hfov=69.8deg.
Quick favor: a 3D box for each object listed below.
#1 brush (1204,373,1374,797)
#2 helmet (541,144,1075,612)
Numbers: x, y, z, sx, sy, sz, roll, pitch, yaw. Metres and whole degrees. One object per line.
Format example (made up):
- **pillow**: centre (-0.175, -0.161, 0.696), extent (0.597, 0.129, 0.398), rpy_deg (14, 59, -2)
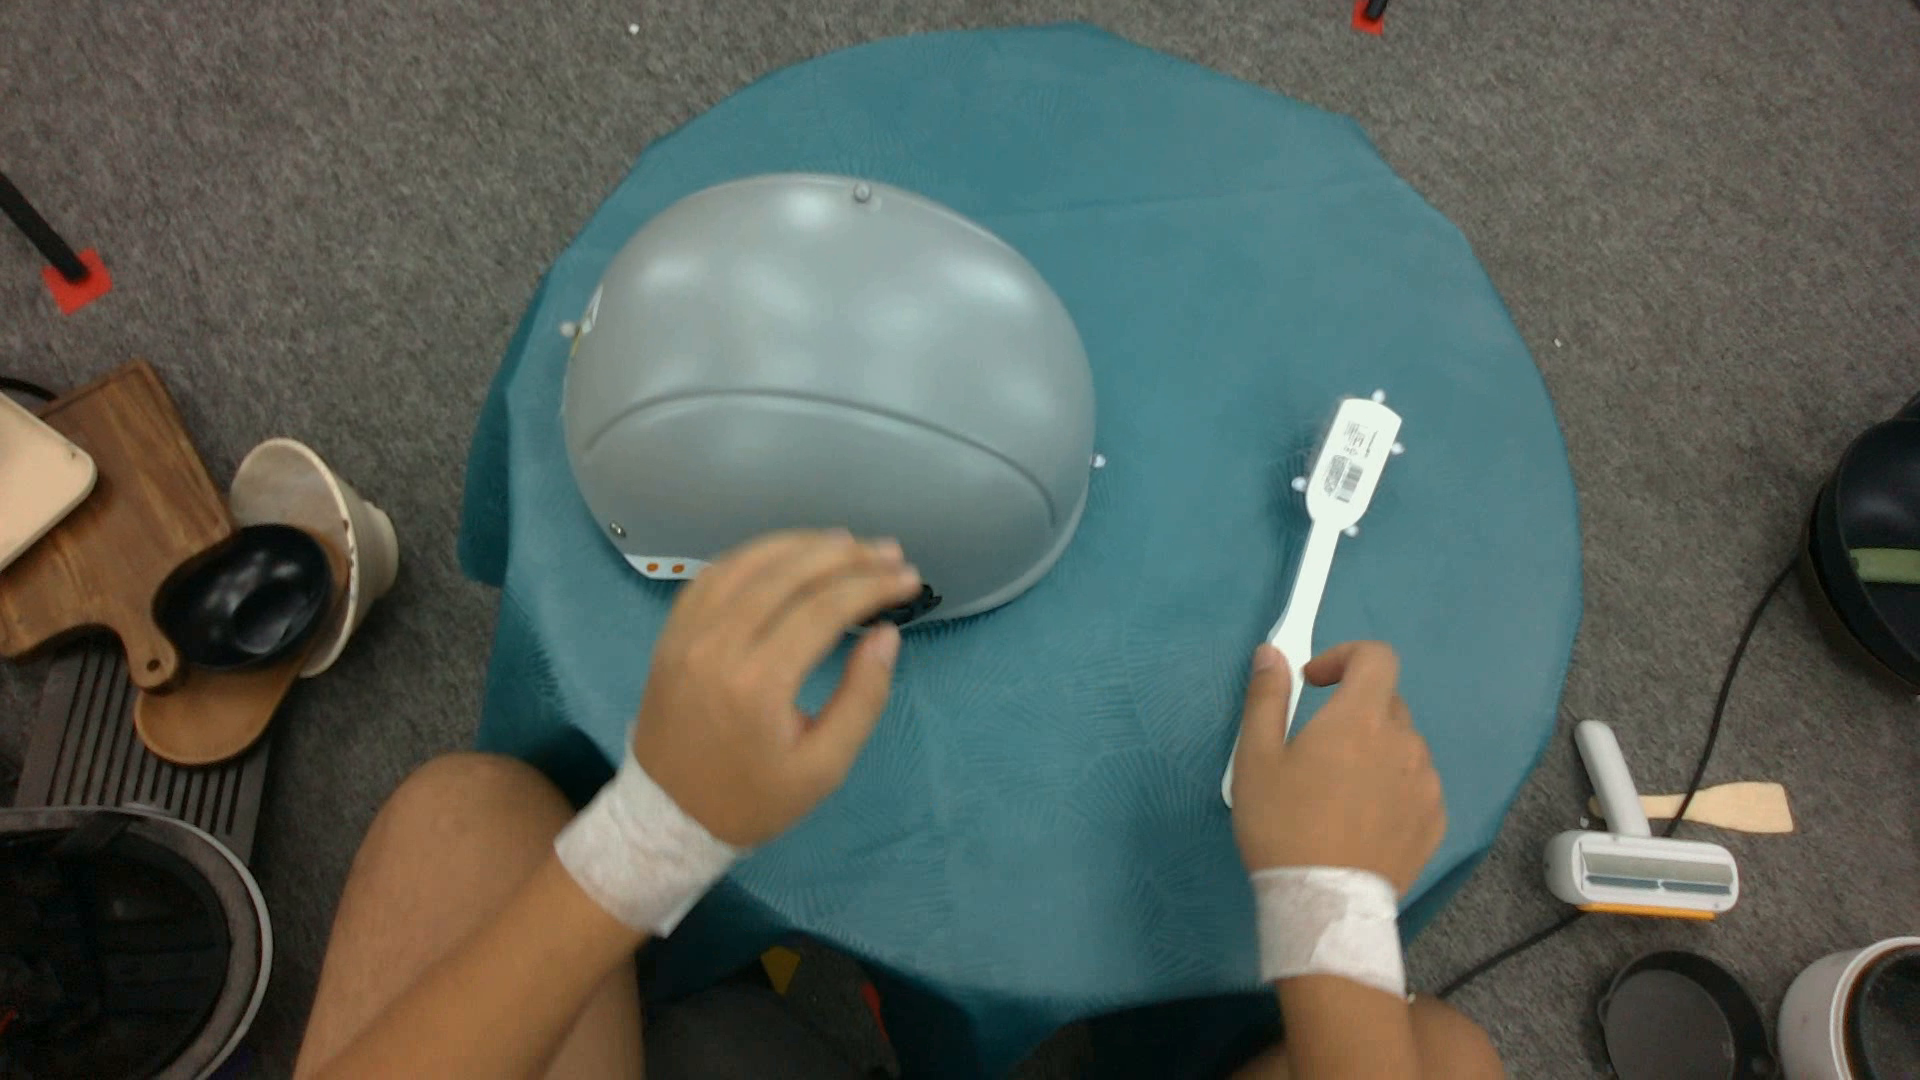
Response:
- **brush**: centre (0.171, 0.021, 0.737), extent (0.034, 0.050, 0.244), rpy_deg (19, 78, 2)
- **helmet**: centre (-0.062, -0.095, 0.667), extent (0.276, 0.168, 0.233), rpy_deg (8, 66, -9)
